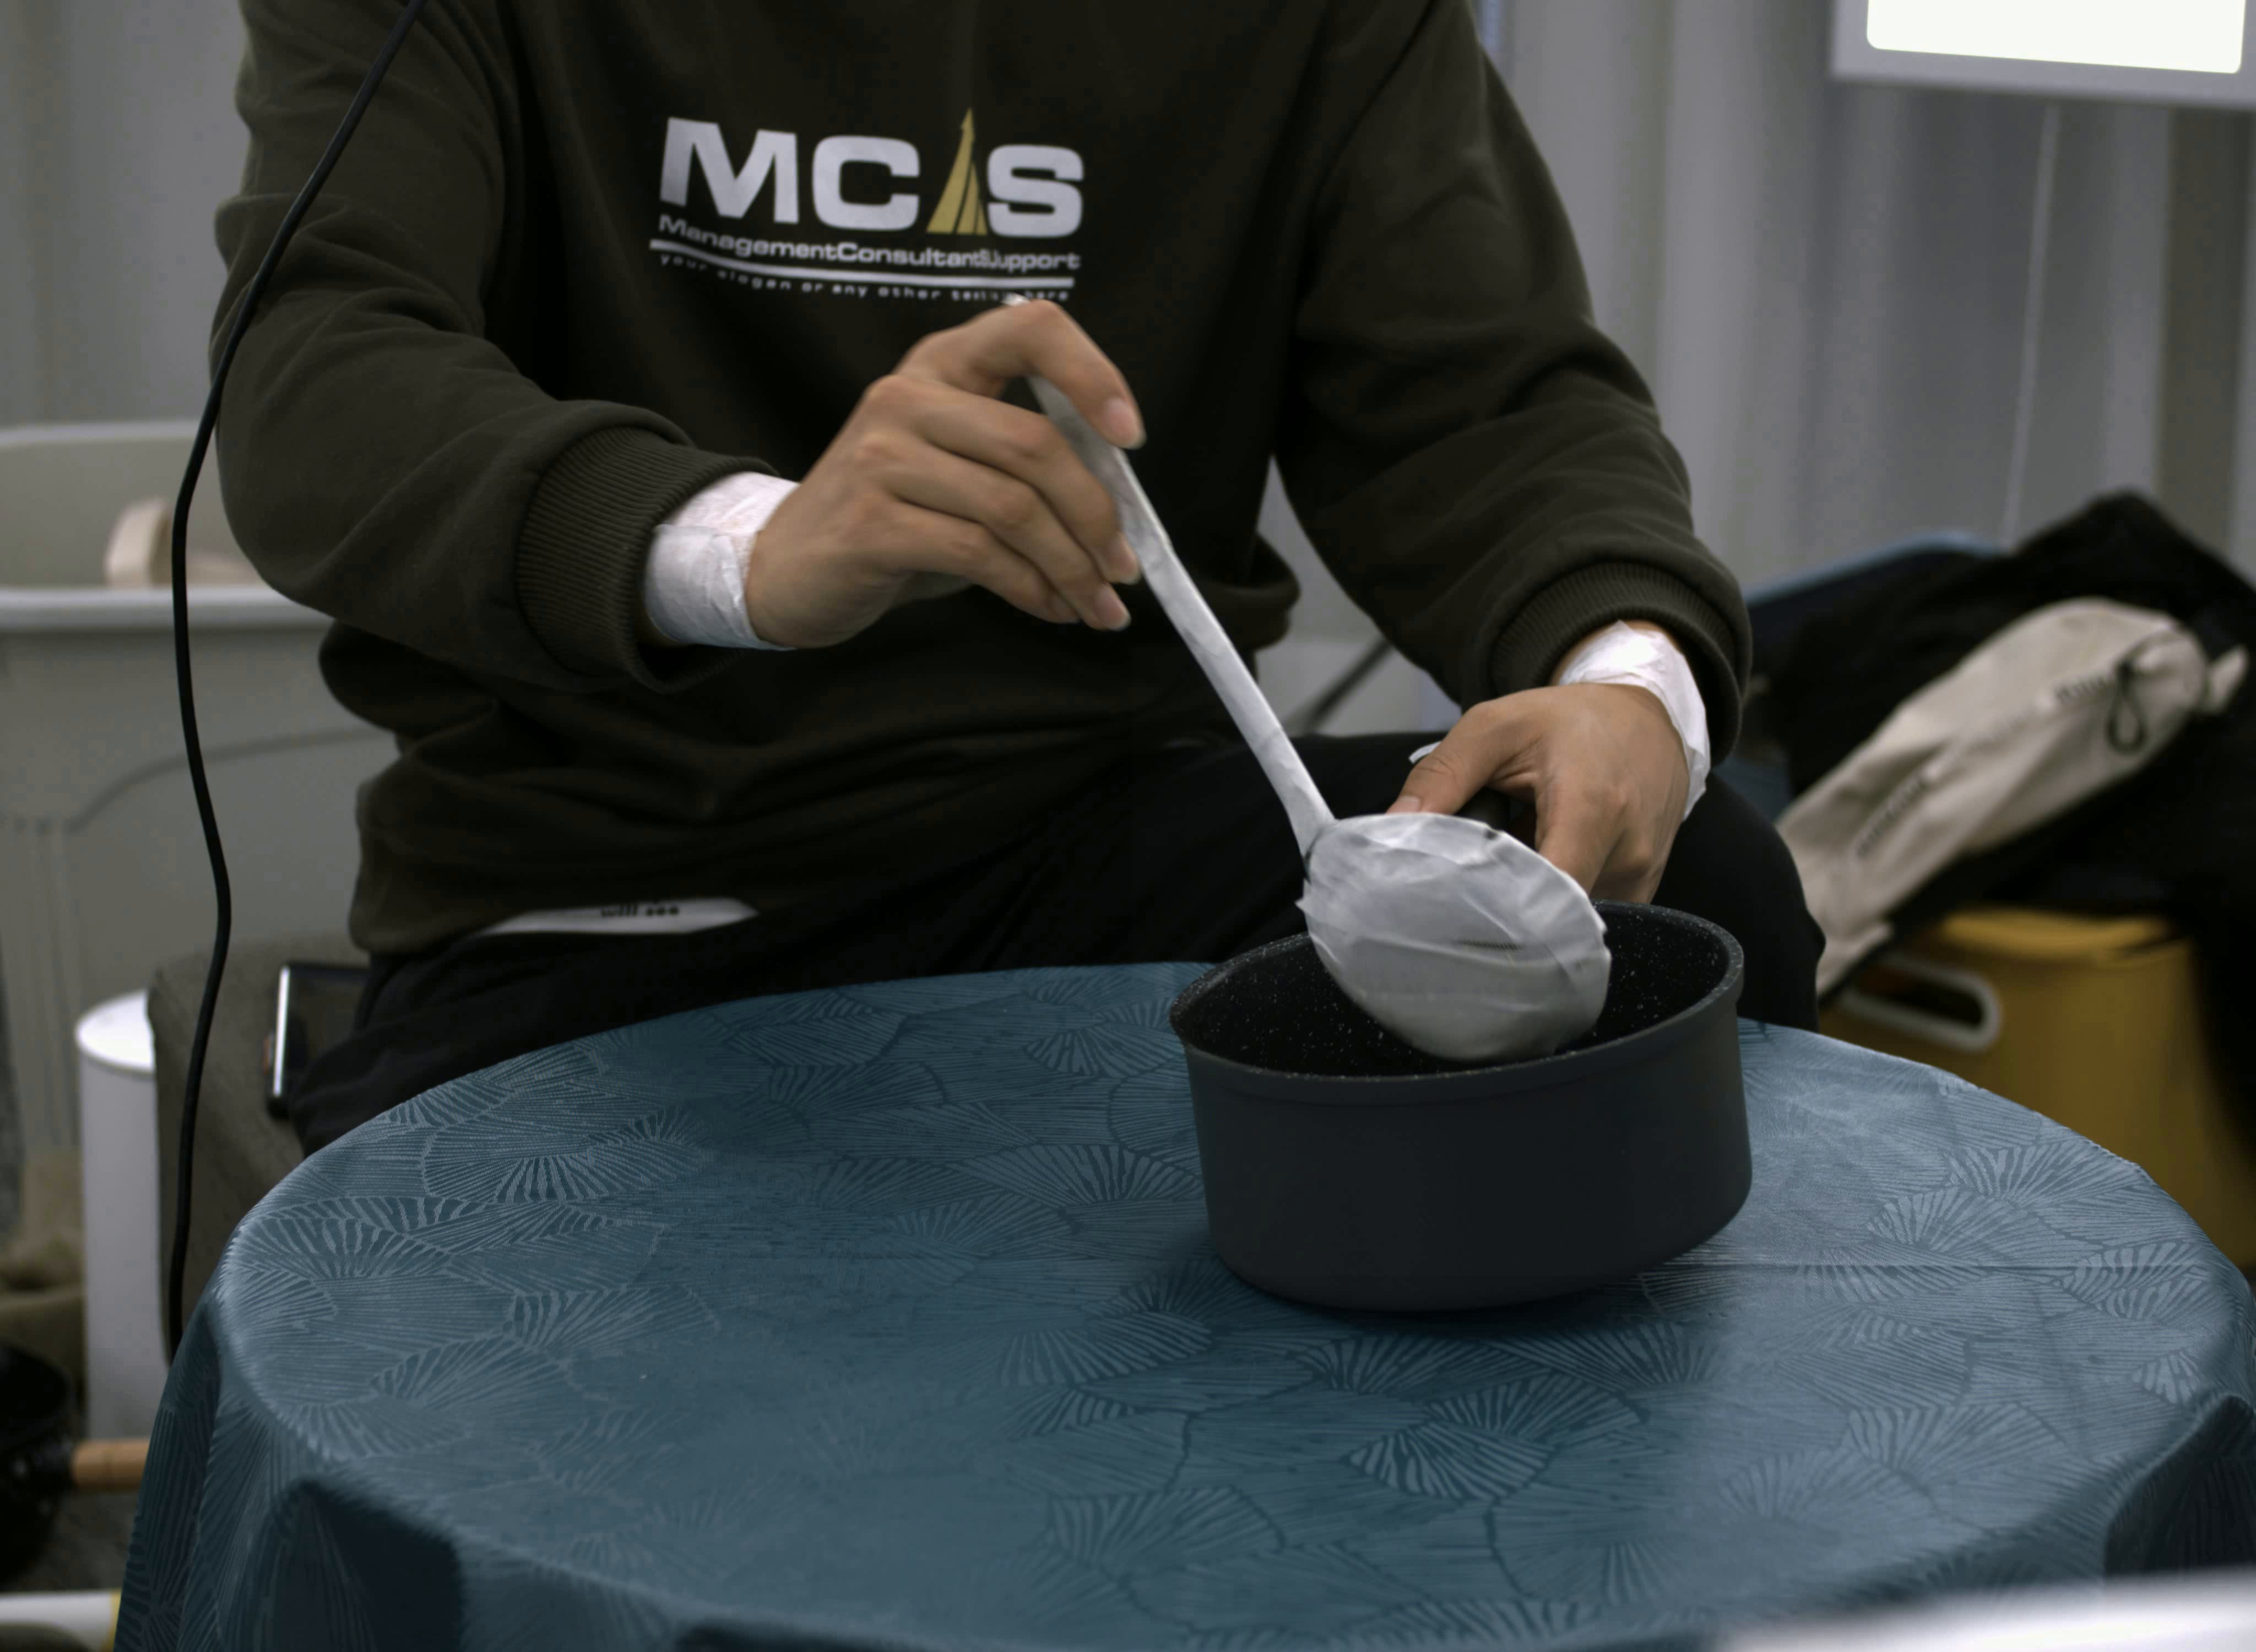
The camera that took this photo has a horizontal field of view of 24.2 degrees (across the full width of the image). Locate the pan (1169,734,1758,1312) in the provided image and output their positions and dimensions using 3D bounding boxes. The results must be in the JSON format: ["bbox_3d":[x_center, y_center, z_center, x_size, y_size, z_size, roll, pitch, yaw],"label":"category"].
[{"bbox_3d":[0.109,0.057,1.638,0.171,0.087,0.327,-4,16,8],"label":"pan"}]

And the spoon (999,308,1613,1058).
[{"bbox_3d":[0.046,-0.045,1.561,0.060,0.101,0.275,-11,62,-42],"label":"spoon"}]
